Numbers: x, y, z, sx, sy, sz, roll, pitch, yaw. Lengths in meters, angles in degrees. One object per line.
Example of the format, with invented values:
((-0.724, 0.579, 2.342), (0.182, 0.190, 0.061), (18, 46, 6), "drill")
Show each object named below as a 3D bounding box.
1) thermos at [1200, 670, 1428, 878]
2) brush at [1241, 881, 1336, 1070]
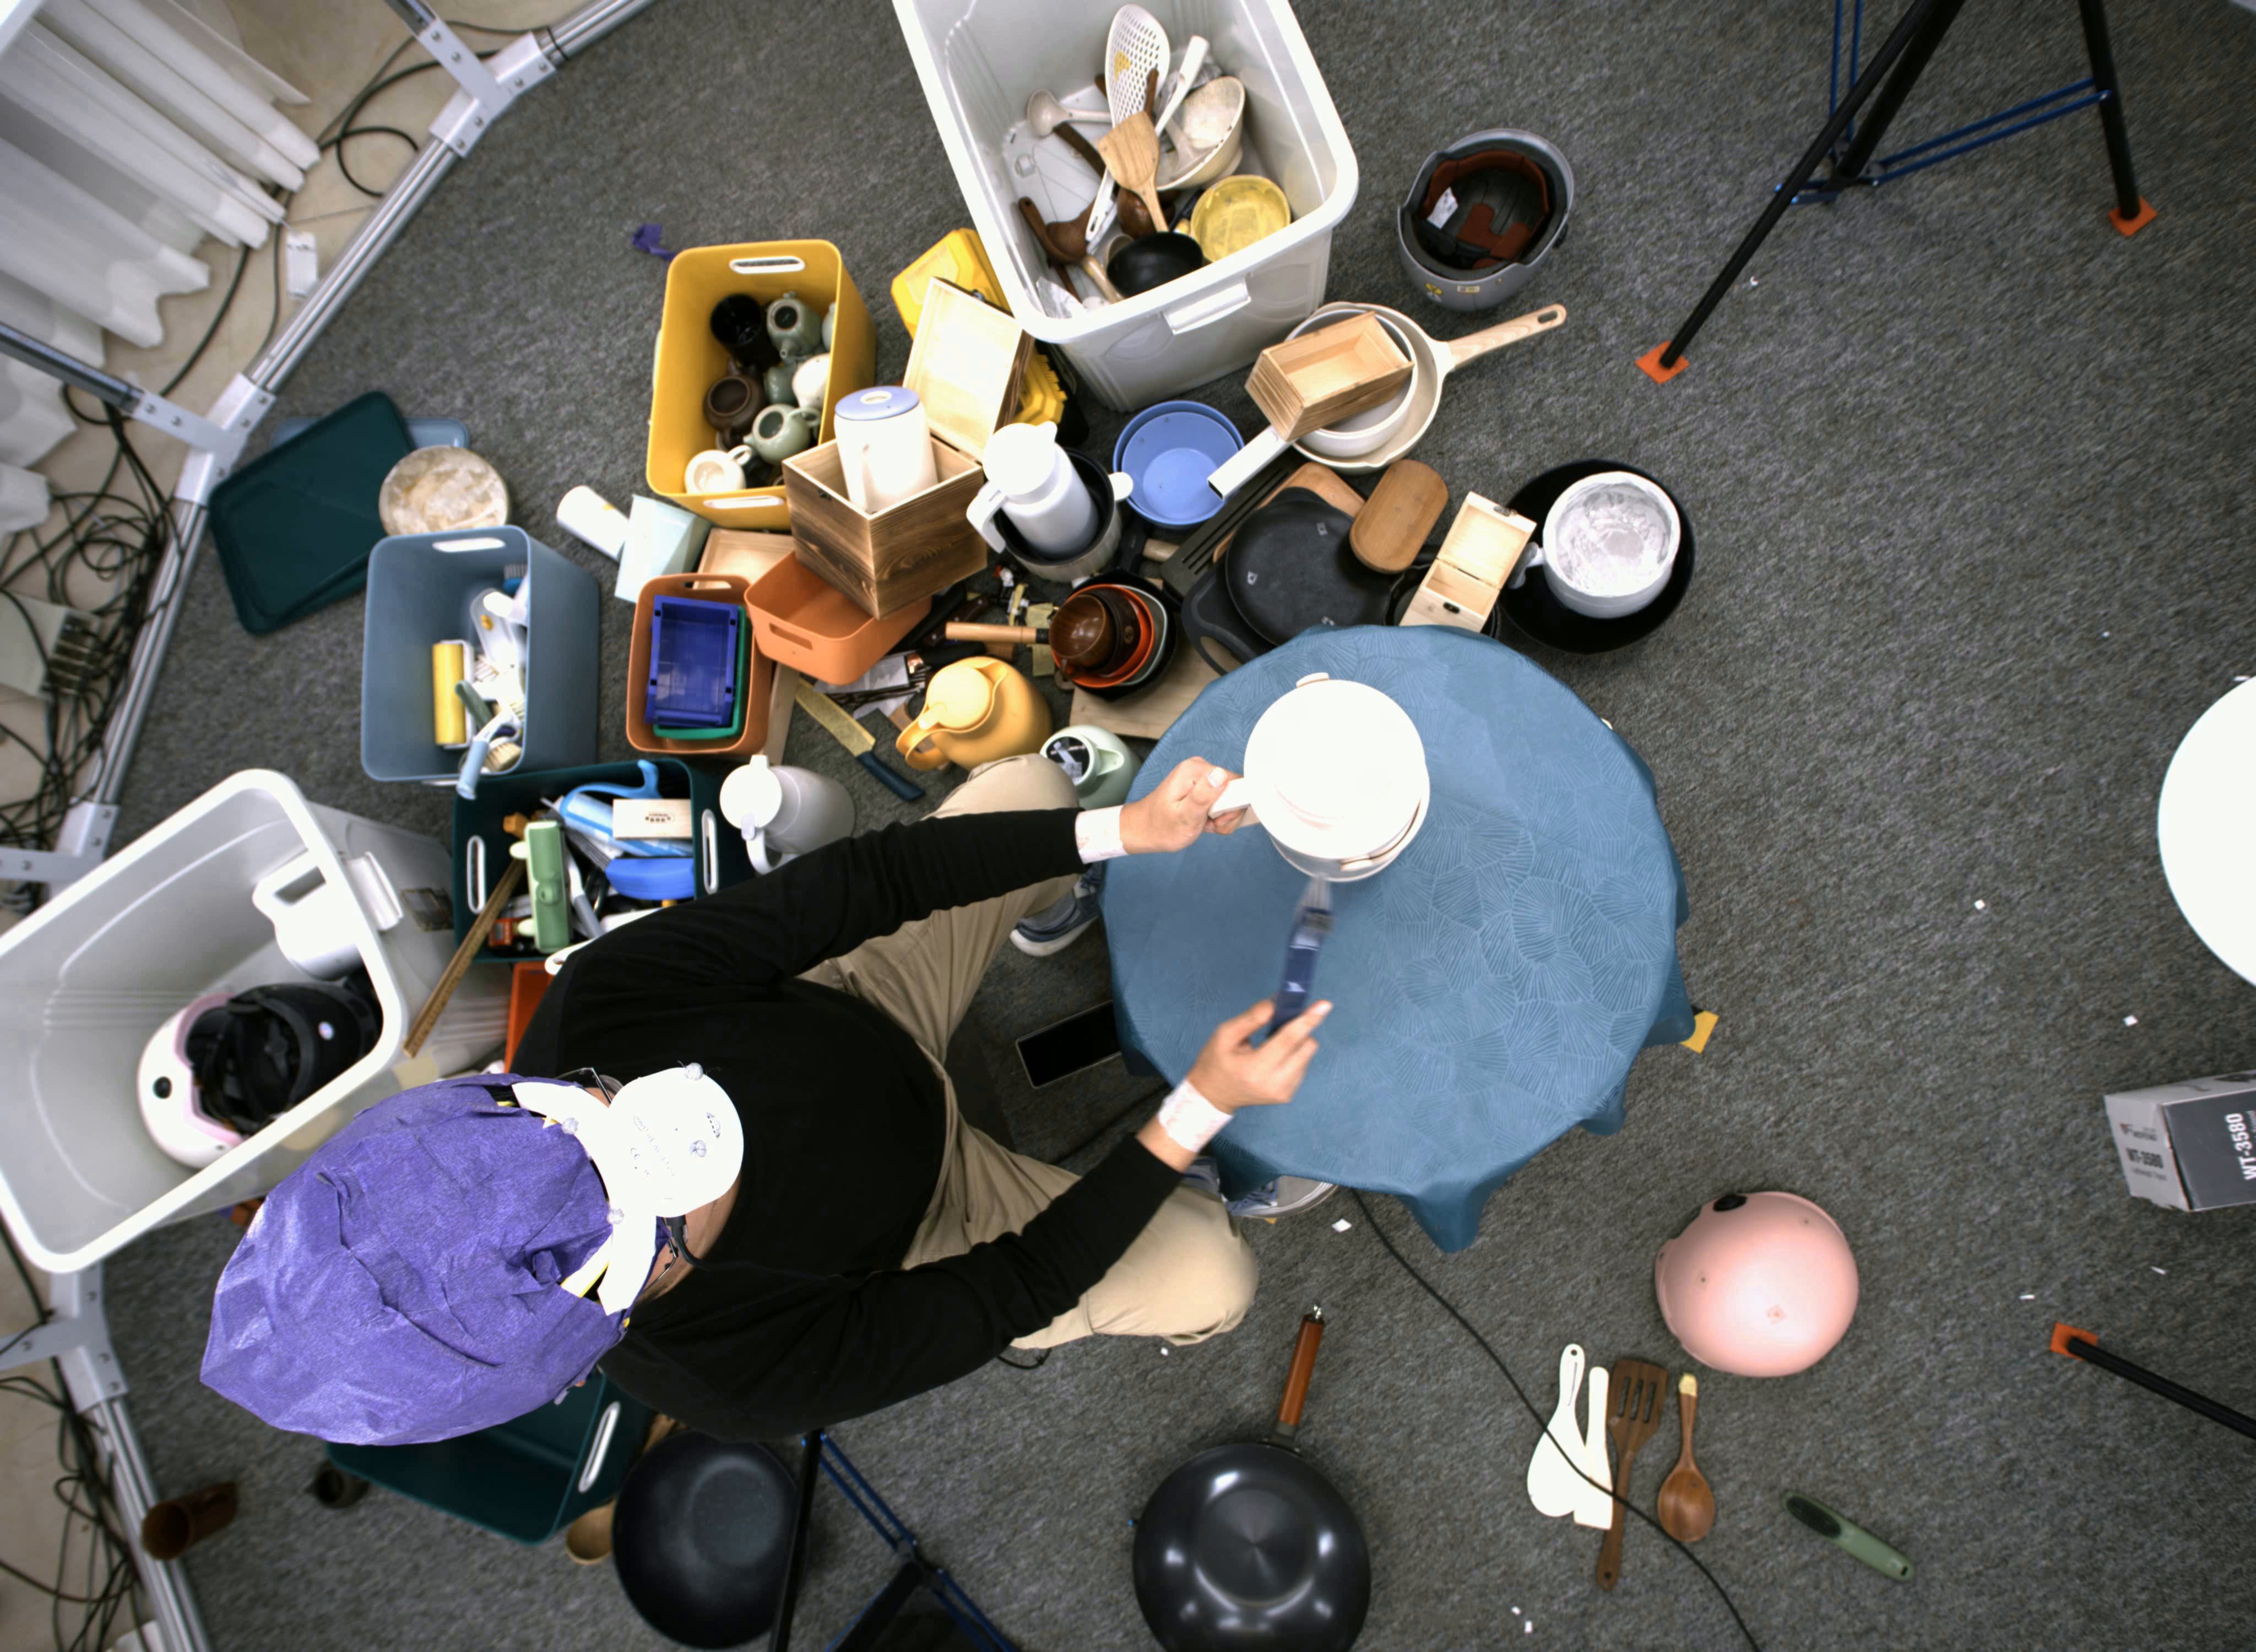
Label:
((0.177, -0.041, 1.282), (0.208, 0.406, 0.174), (-14, 84, 8), "thermos")
((0.141, 0.154, 1.238), (0.033, 0.280, 0.093), (7, 43, -2), "brush")
